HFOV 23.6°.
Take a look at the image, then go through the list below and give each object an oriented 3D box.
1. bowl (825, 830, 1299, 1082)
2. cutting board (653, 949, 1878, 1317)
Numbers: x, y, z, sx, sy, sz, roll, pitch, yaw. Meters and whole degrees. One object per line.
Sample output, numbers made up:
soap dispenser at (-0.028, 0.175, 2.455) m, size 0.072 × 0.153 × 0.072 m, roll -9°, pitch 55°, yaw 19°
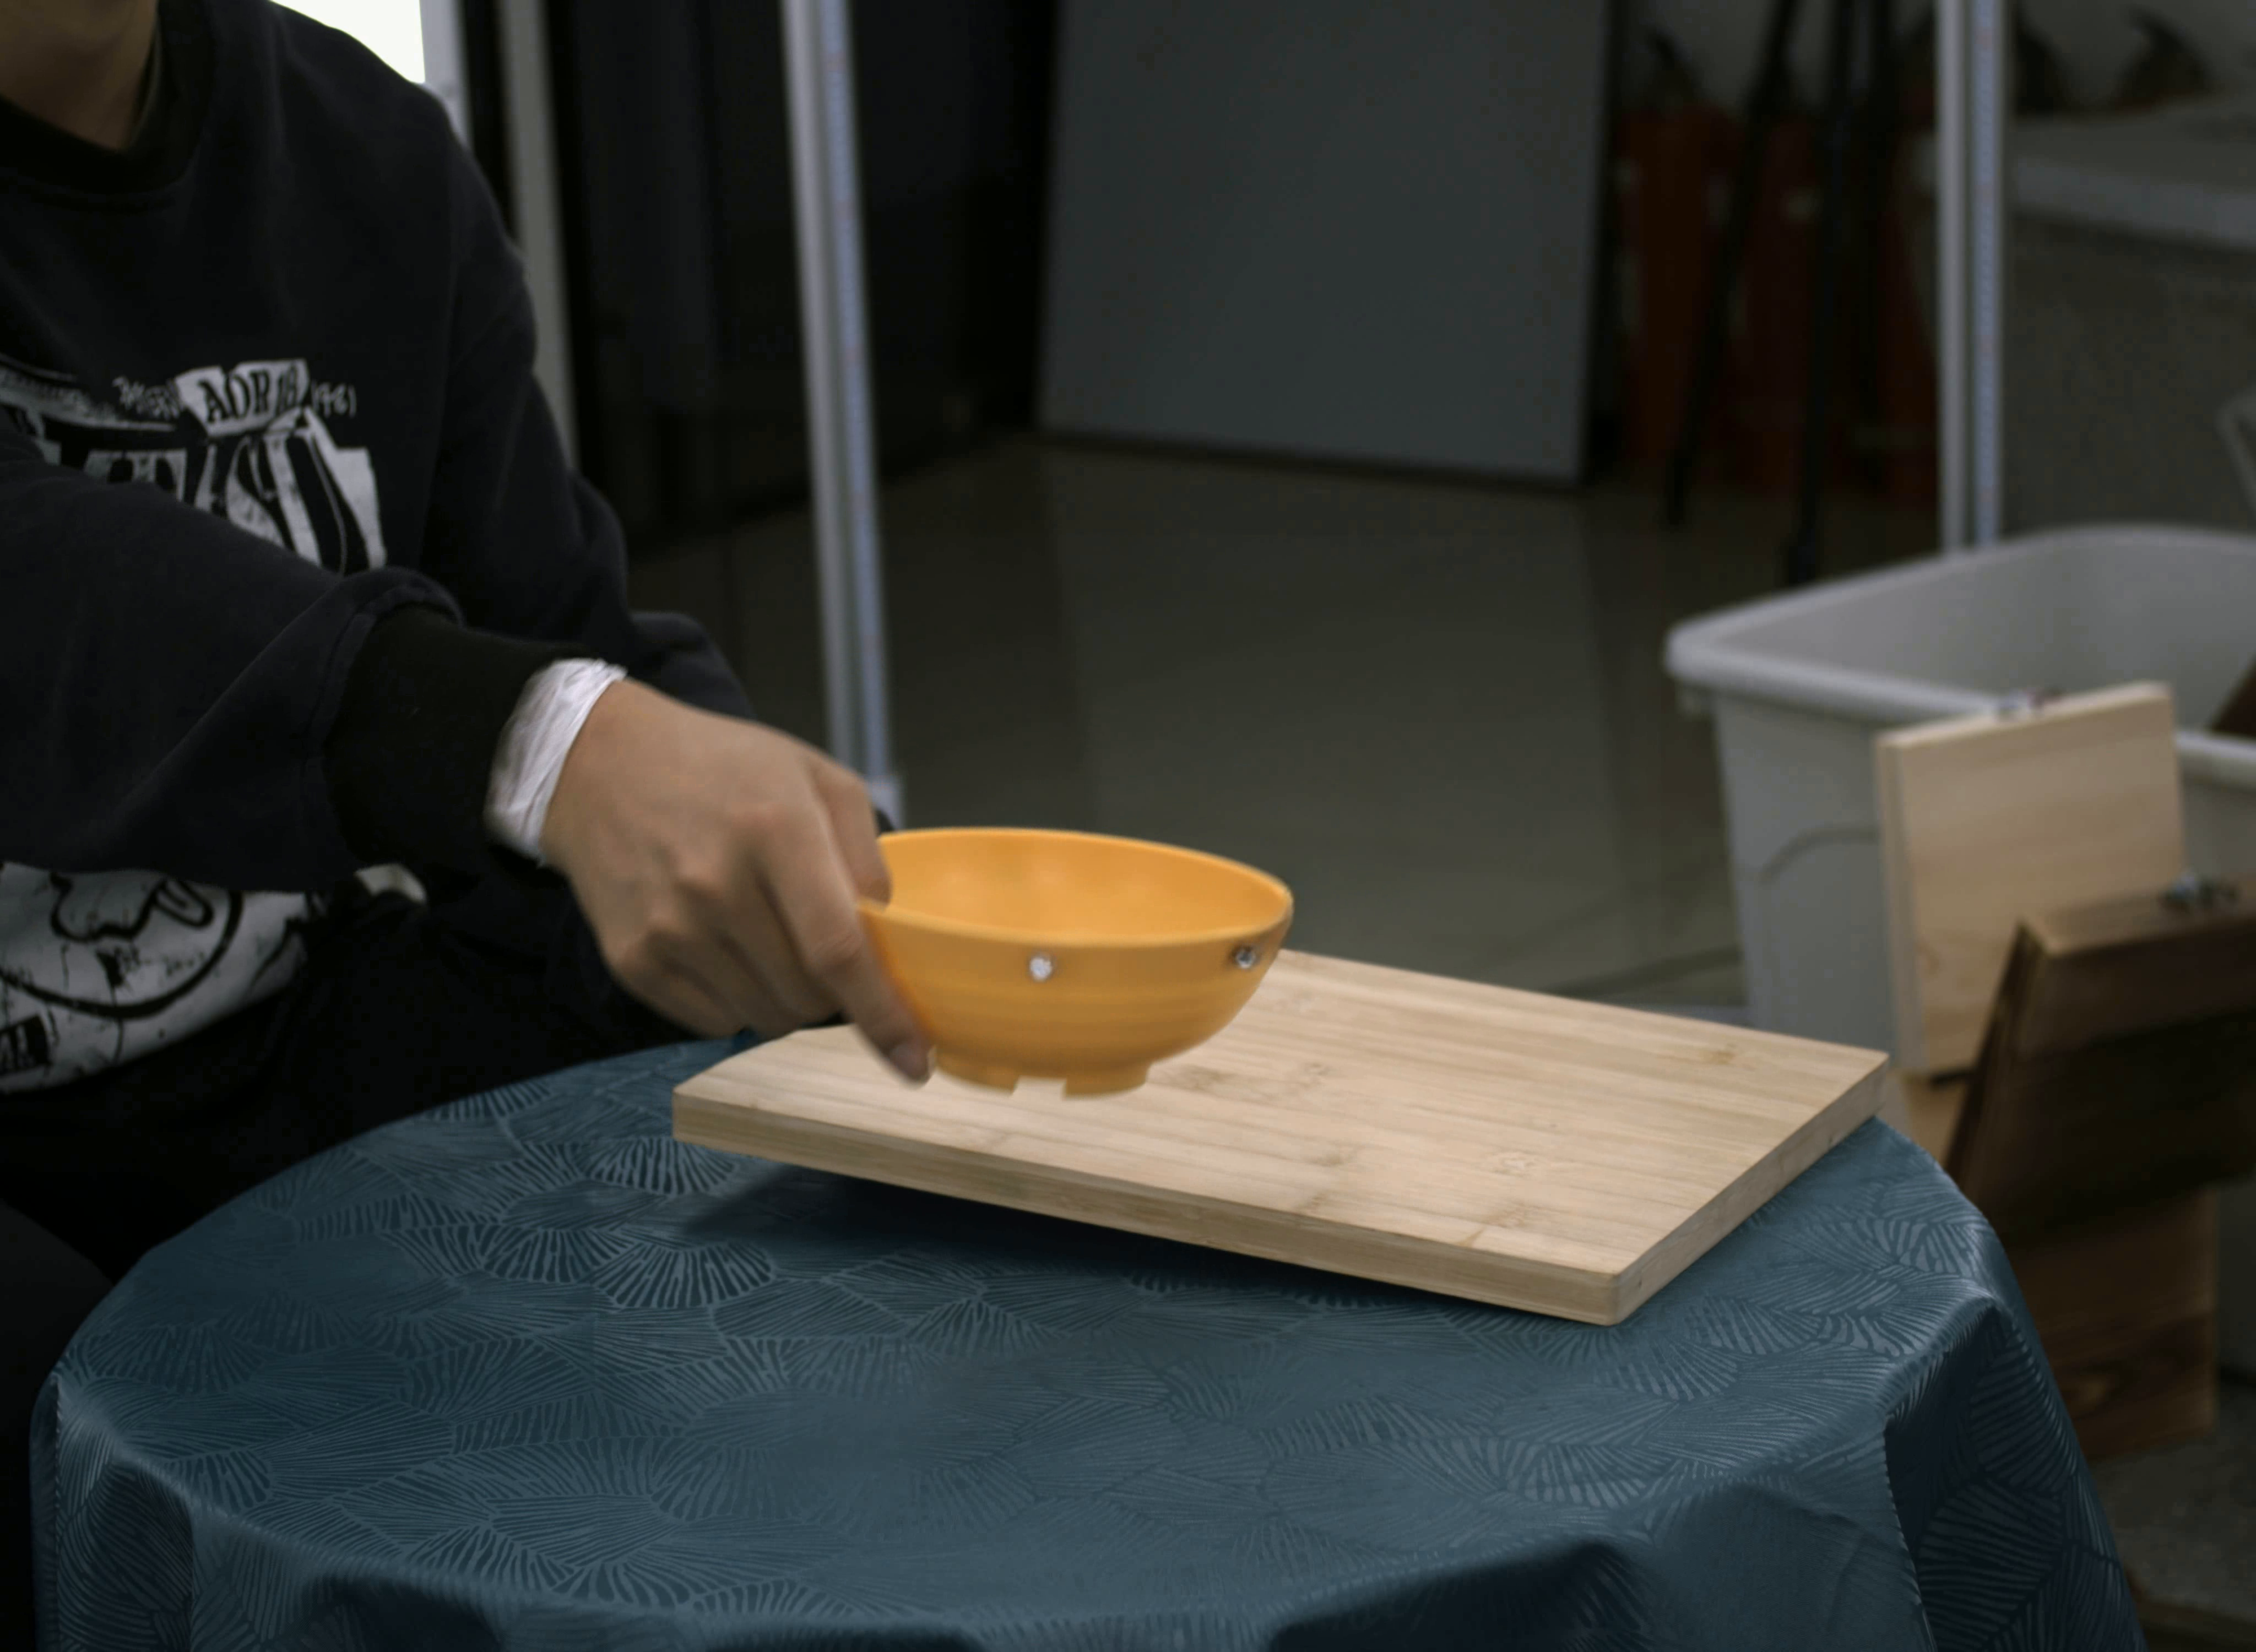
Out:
bowl at (-0.021, 0.041, 1.602) m, size 0.143 × 0.061 × 0.145 m, roll 3°, pitch 8°, yaw -1°
cutting board at (0.048, 0.090, 1.793) m, size 0.349 × 0.024 × 0.247 m, roll 8°, pitch 17°, yaw 27°
